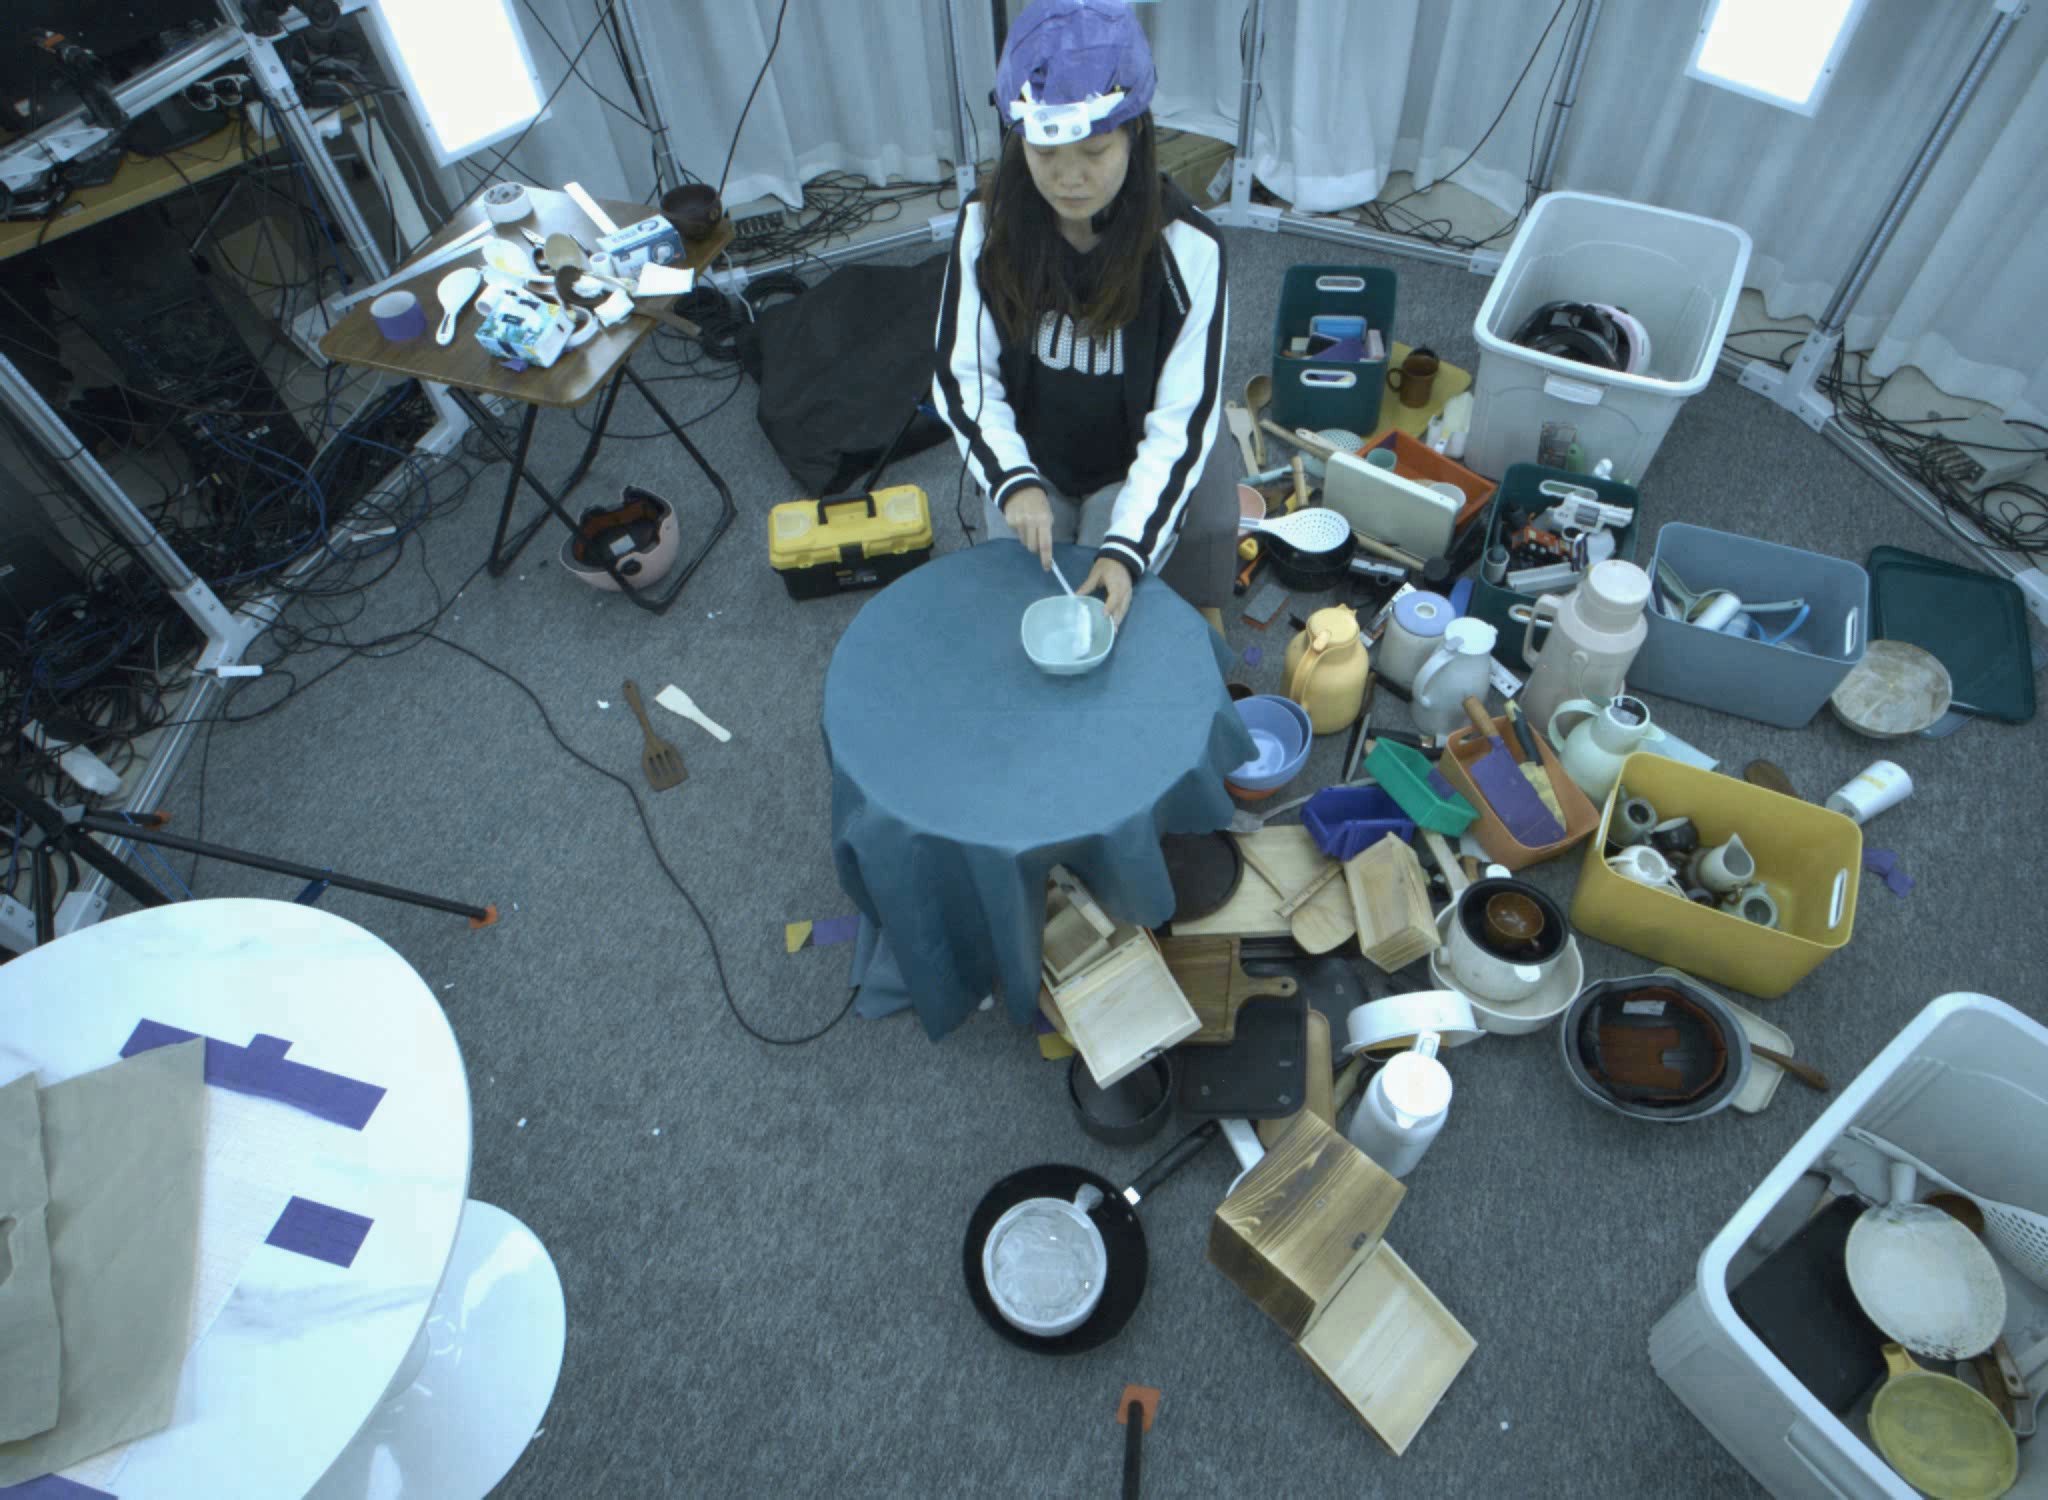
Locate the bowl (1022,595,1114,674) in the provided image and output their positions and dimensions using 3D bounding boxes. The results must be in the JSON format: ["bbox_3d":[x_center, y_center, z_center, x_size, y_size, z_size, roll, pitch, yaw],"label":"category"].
[{"bbox_3d":[0.067,-0.166,1.870,0.151,0.059,0.150,-1,55,2],"label":"bowl"}]

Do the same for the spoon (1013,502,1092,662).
[{"bbox_3d":[0.032,-0.259,1.858,0.060,0.100,0.275,-27,79,-21],"label":"spoon"}]
